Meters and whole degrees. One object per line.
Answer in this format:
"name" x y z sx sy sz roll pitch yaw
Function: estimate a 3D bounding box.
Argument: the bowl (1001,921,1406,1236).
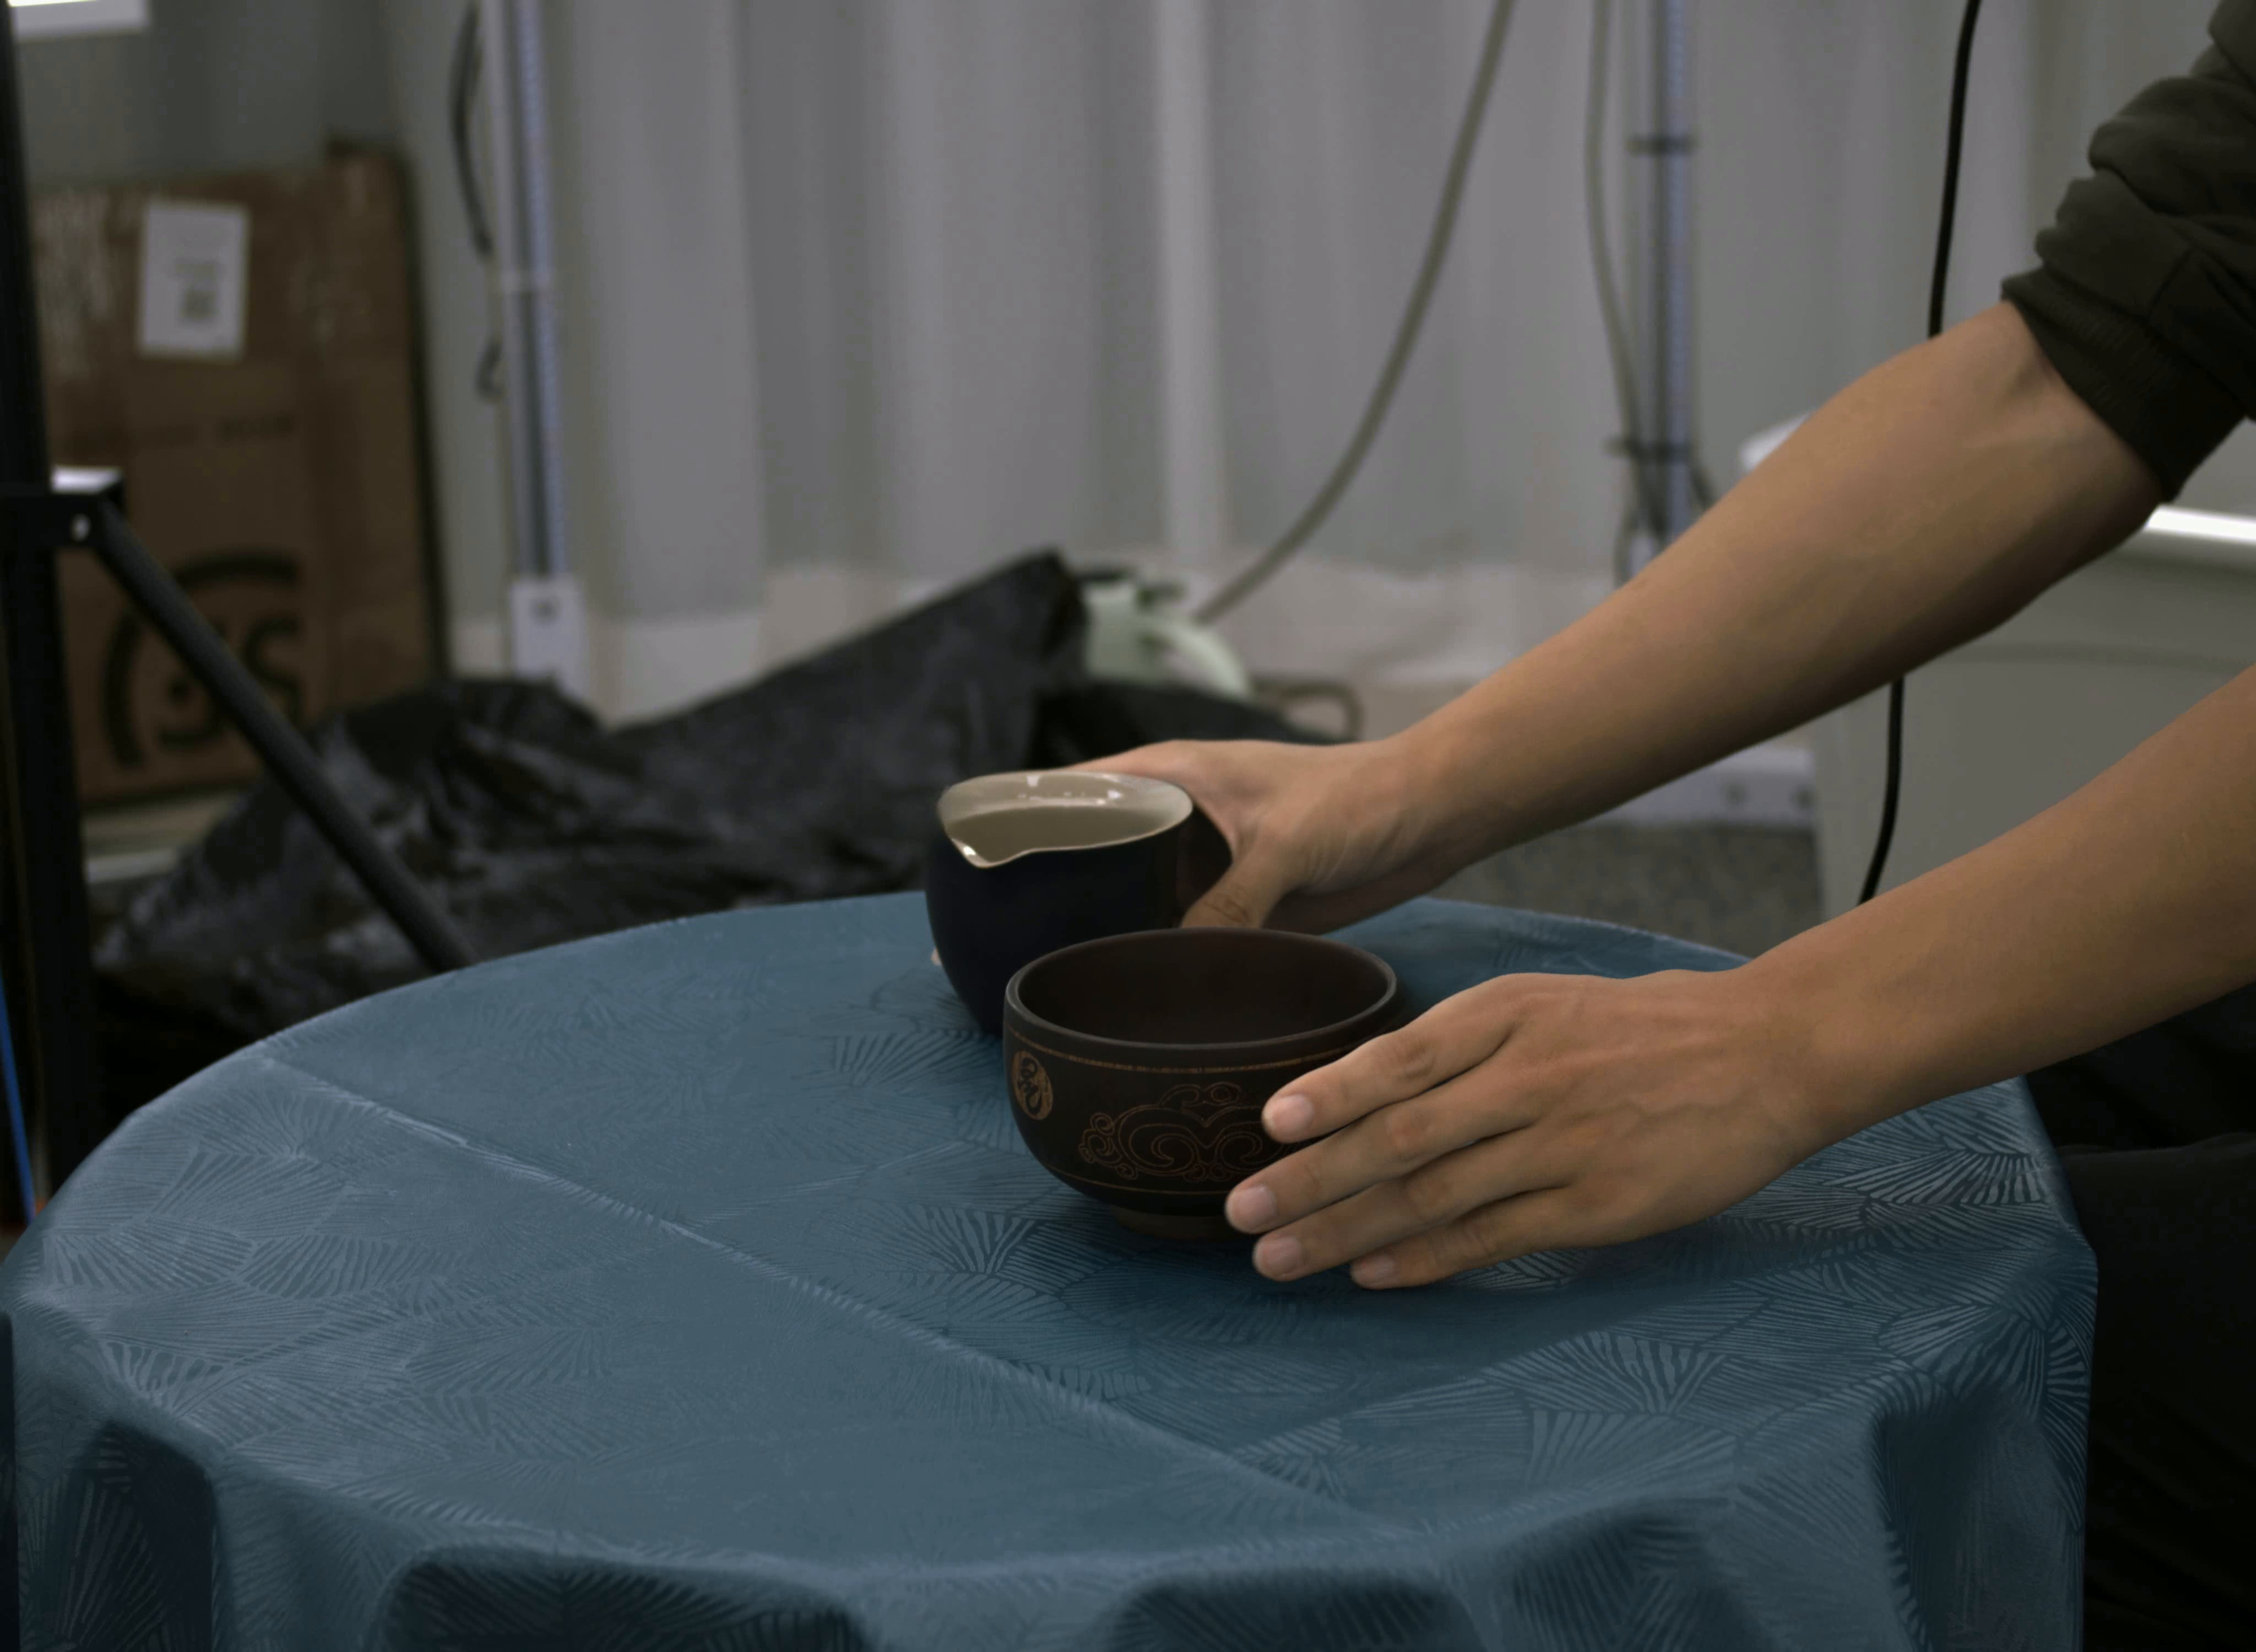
"bowl" 0.023 0.077 1.536 0.117 0.070 0.118 -4 15 0

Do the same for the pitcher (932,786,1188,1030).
"pitcher" -0.024 0.028 1.709 0.085 0.071 0.094 8 18 28
